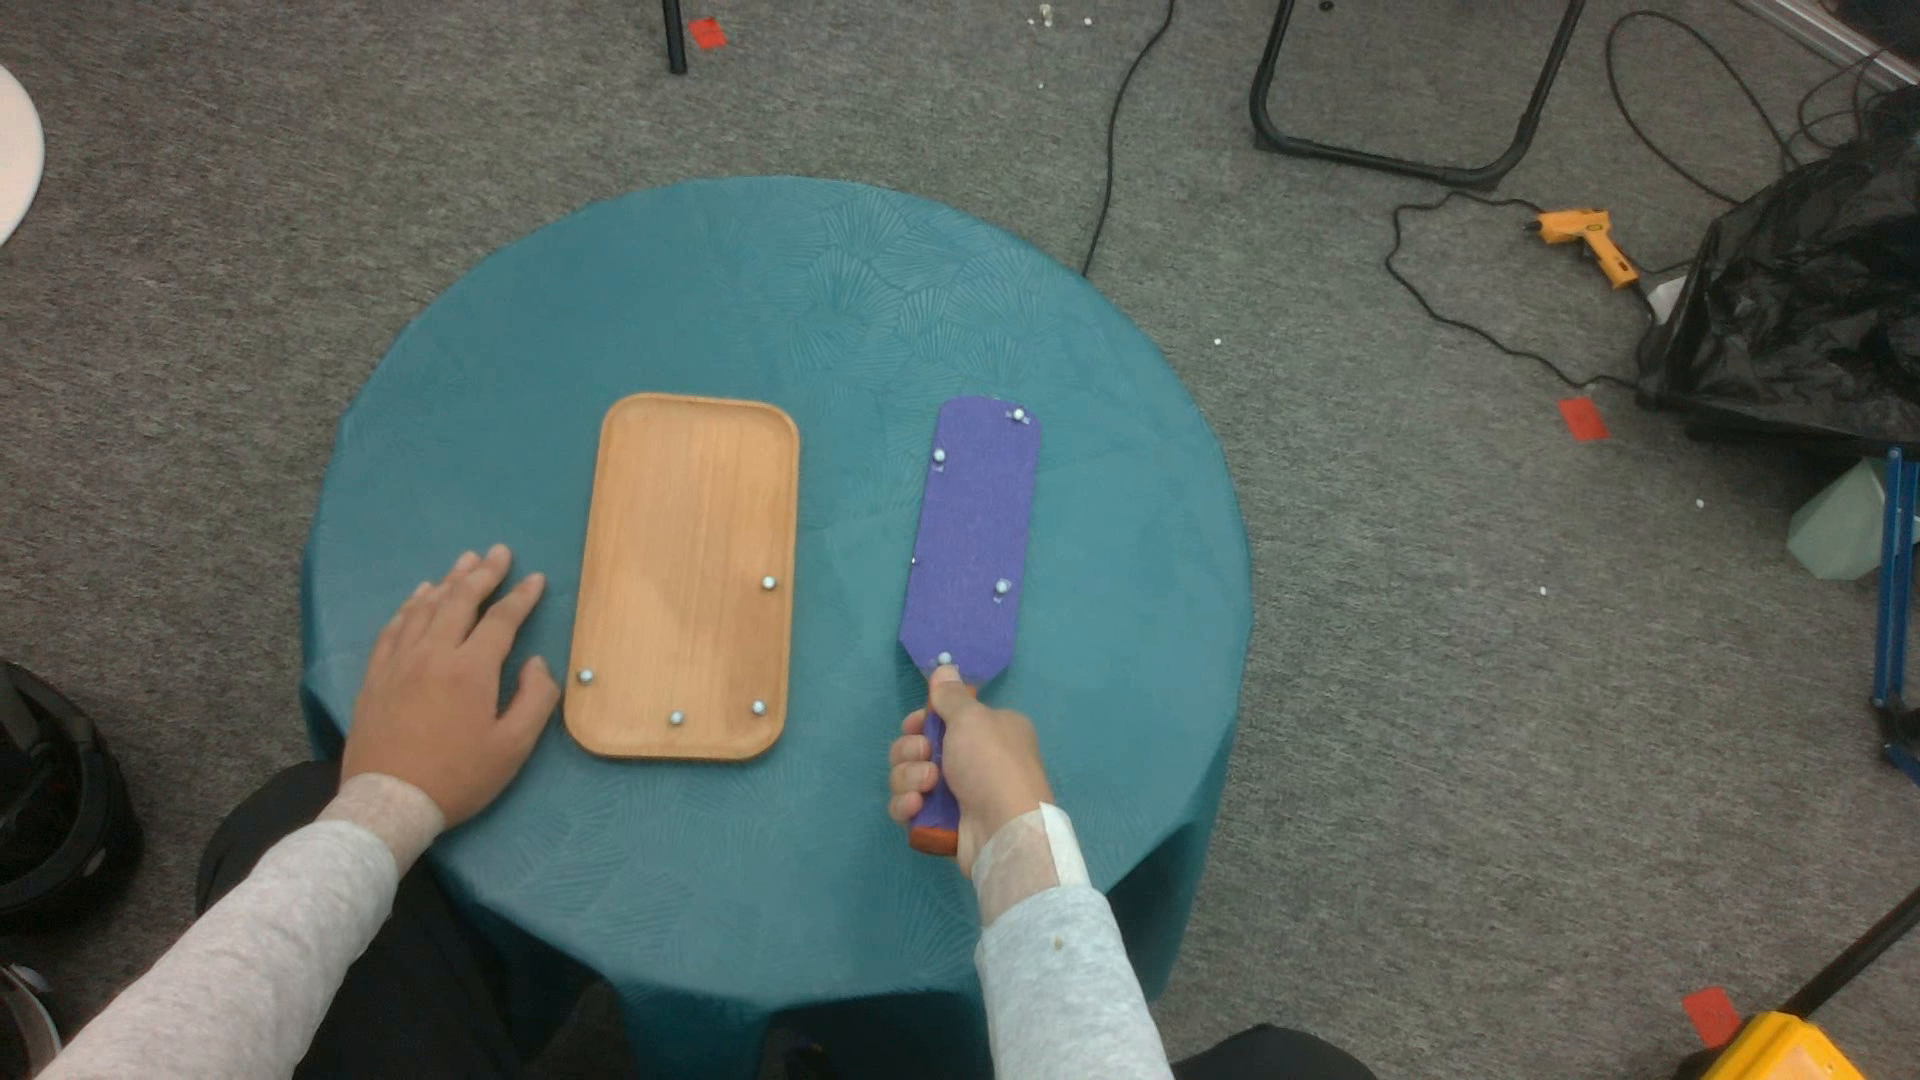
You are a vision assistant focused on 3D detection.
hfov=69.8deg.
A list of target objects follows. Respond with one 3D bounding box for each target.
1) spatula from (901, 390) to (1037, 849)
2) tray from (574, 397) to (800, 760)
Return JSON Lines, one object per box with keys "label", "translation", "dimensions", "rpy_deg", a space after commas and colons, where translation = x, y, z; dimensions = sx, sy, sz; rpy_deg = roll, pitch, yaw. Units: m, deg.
{"label": "spatula", "translation": [0.005, 0.029, 0.853], "dimensions": [0.075, 0.086, 0.361], "rpy_deg": [8, 34, -2]}
{"label": "tray", "translation": [-0.168, 0.019, 0.870], "dimensions": [0.130, 0.023, 0.251], "rpy_deg": [4, 60, -10]}
